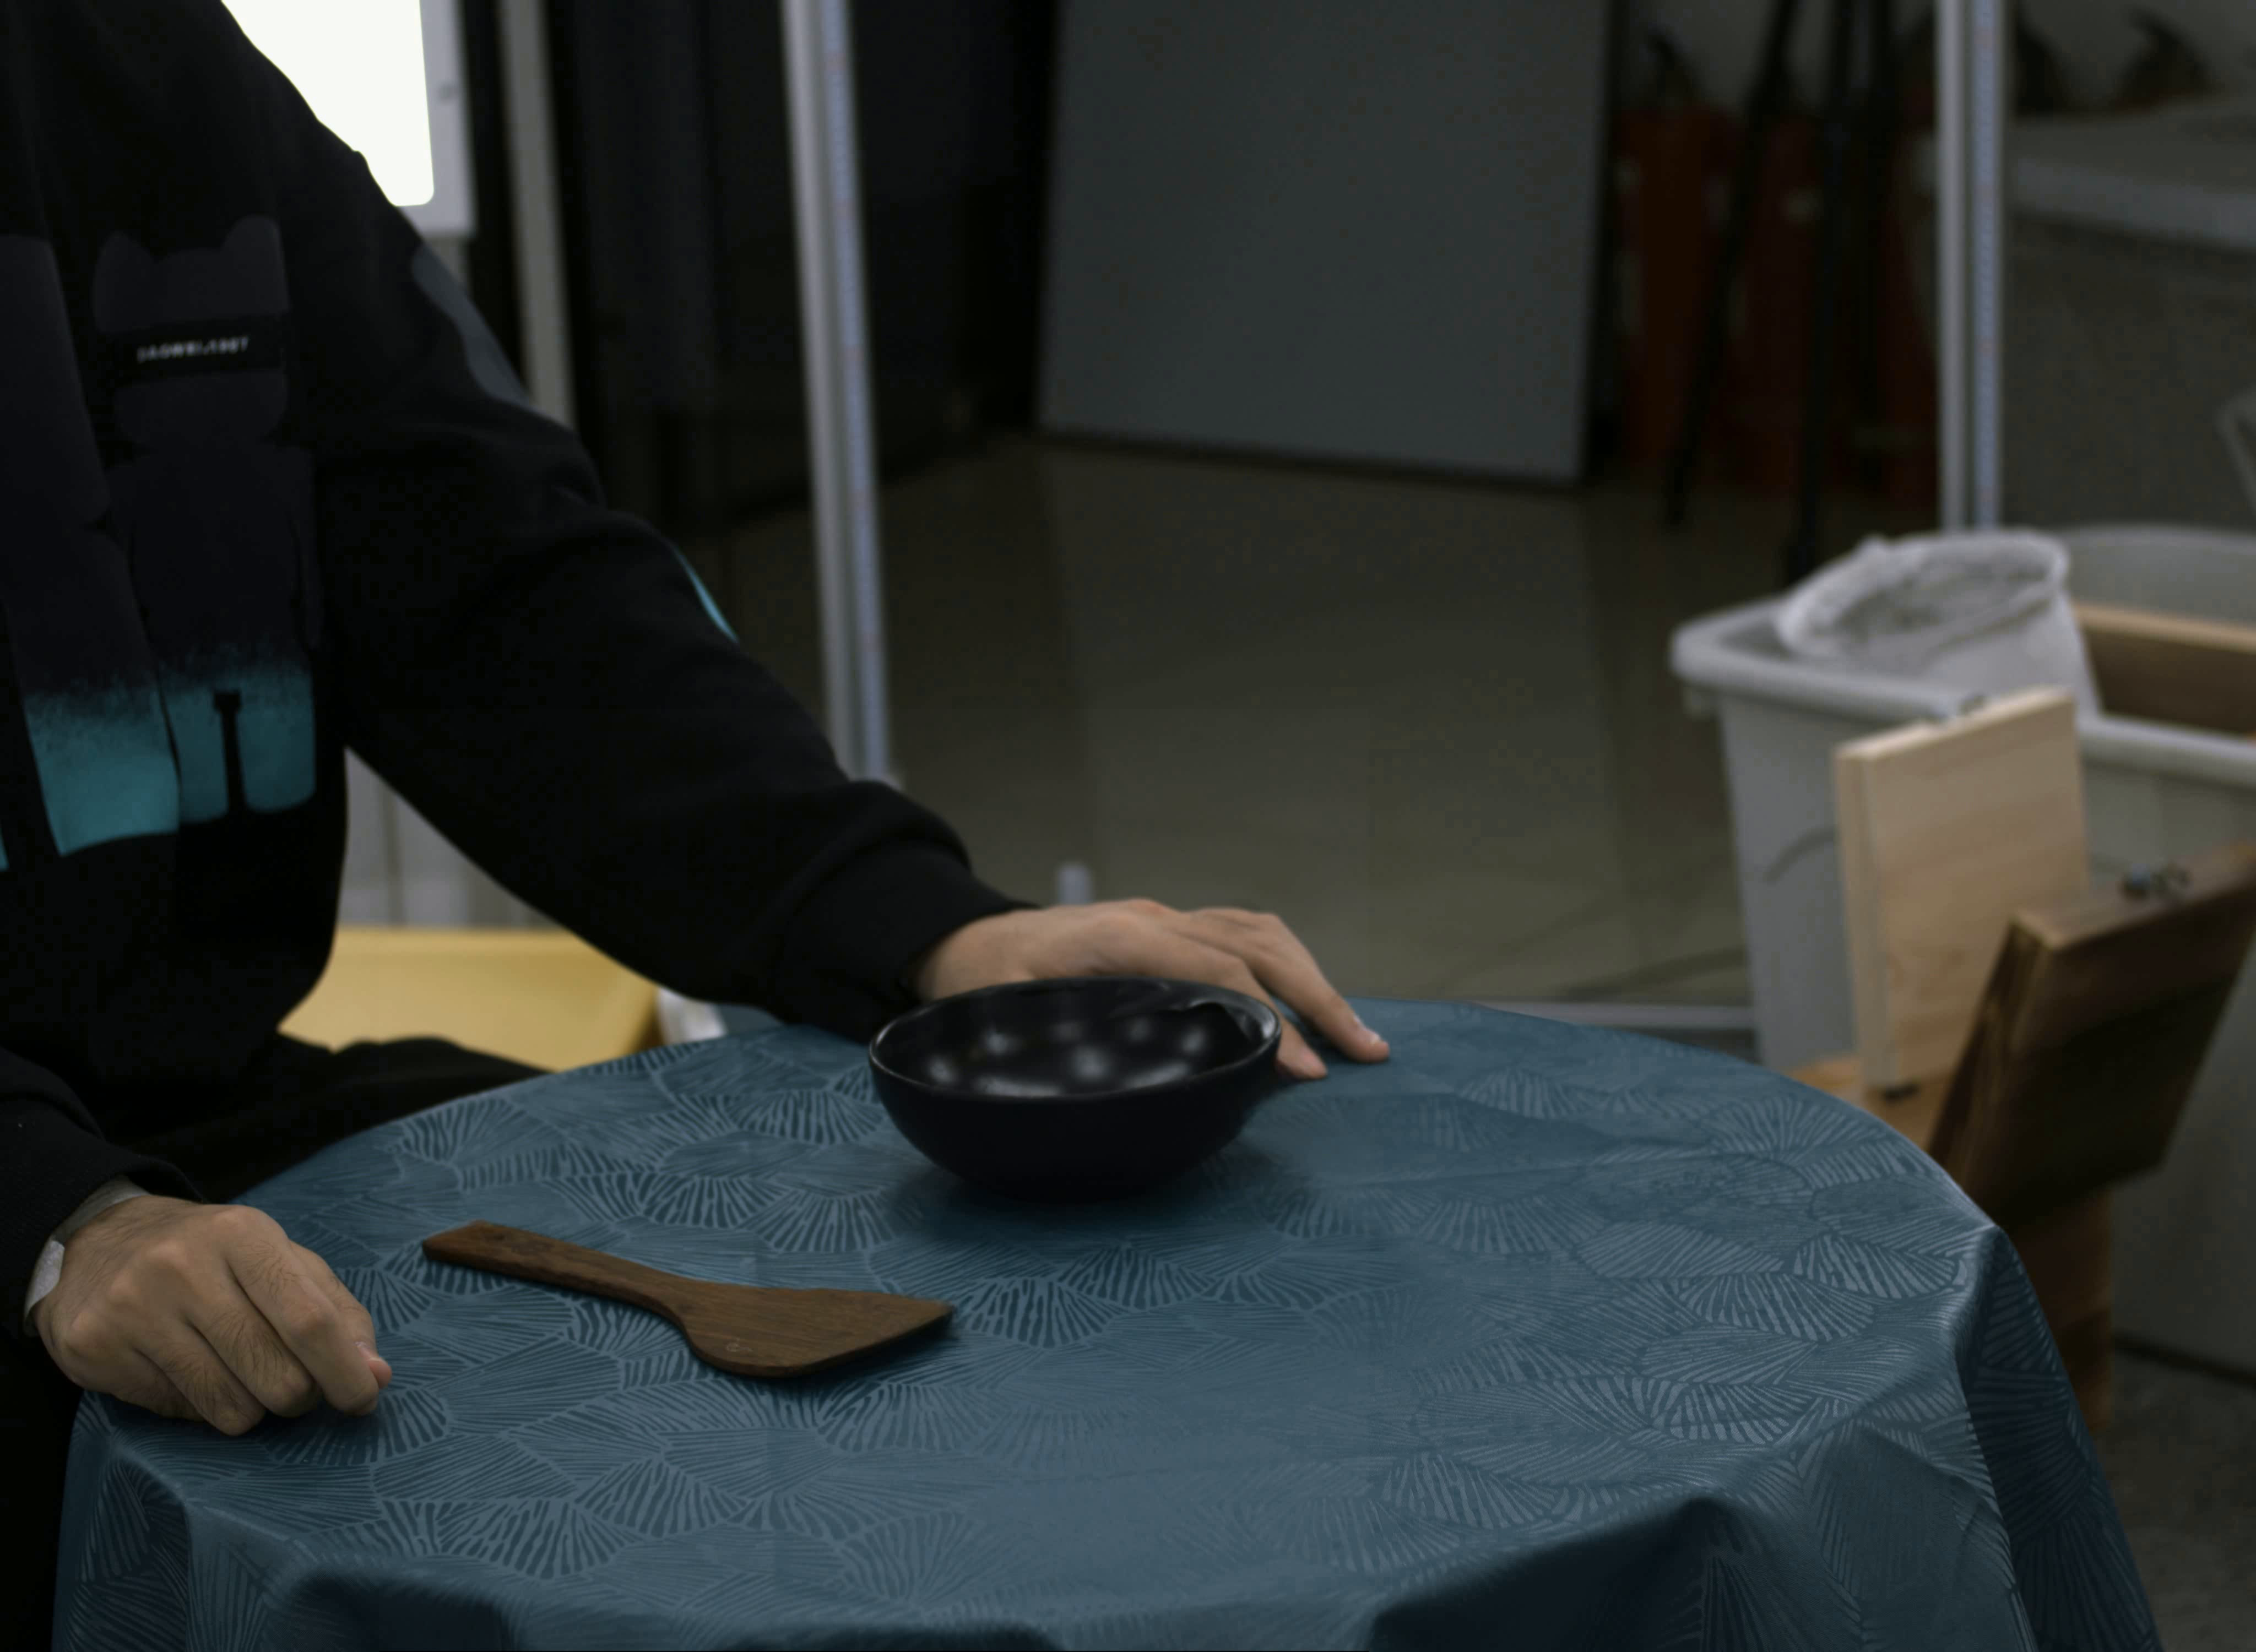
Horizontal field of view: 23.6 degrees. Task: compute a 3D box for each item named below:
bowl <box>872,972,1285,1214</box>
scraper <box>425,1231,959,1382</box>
[{"bbox_3d":[-0.014,0.093,1.789,0.138,0.050,0.140,-6,16,1],"label":"bowl"},{"bbox_3d":[-0.145,0.148,1.691,0.213,0.011,0.074,8,17,43],"label":"scraper"}]
